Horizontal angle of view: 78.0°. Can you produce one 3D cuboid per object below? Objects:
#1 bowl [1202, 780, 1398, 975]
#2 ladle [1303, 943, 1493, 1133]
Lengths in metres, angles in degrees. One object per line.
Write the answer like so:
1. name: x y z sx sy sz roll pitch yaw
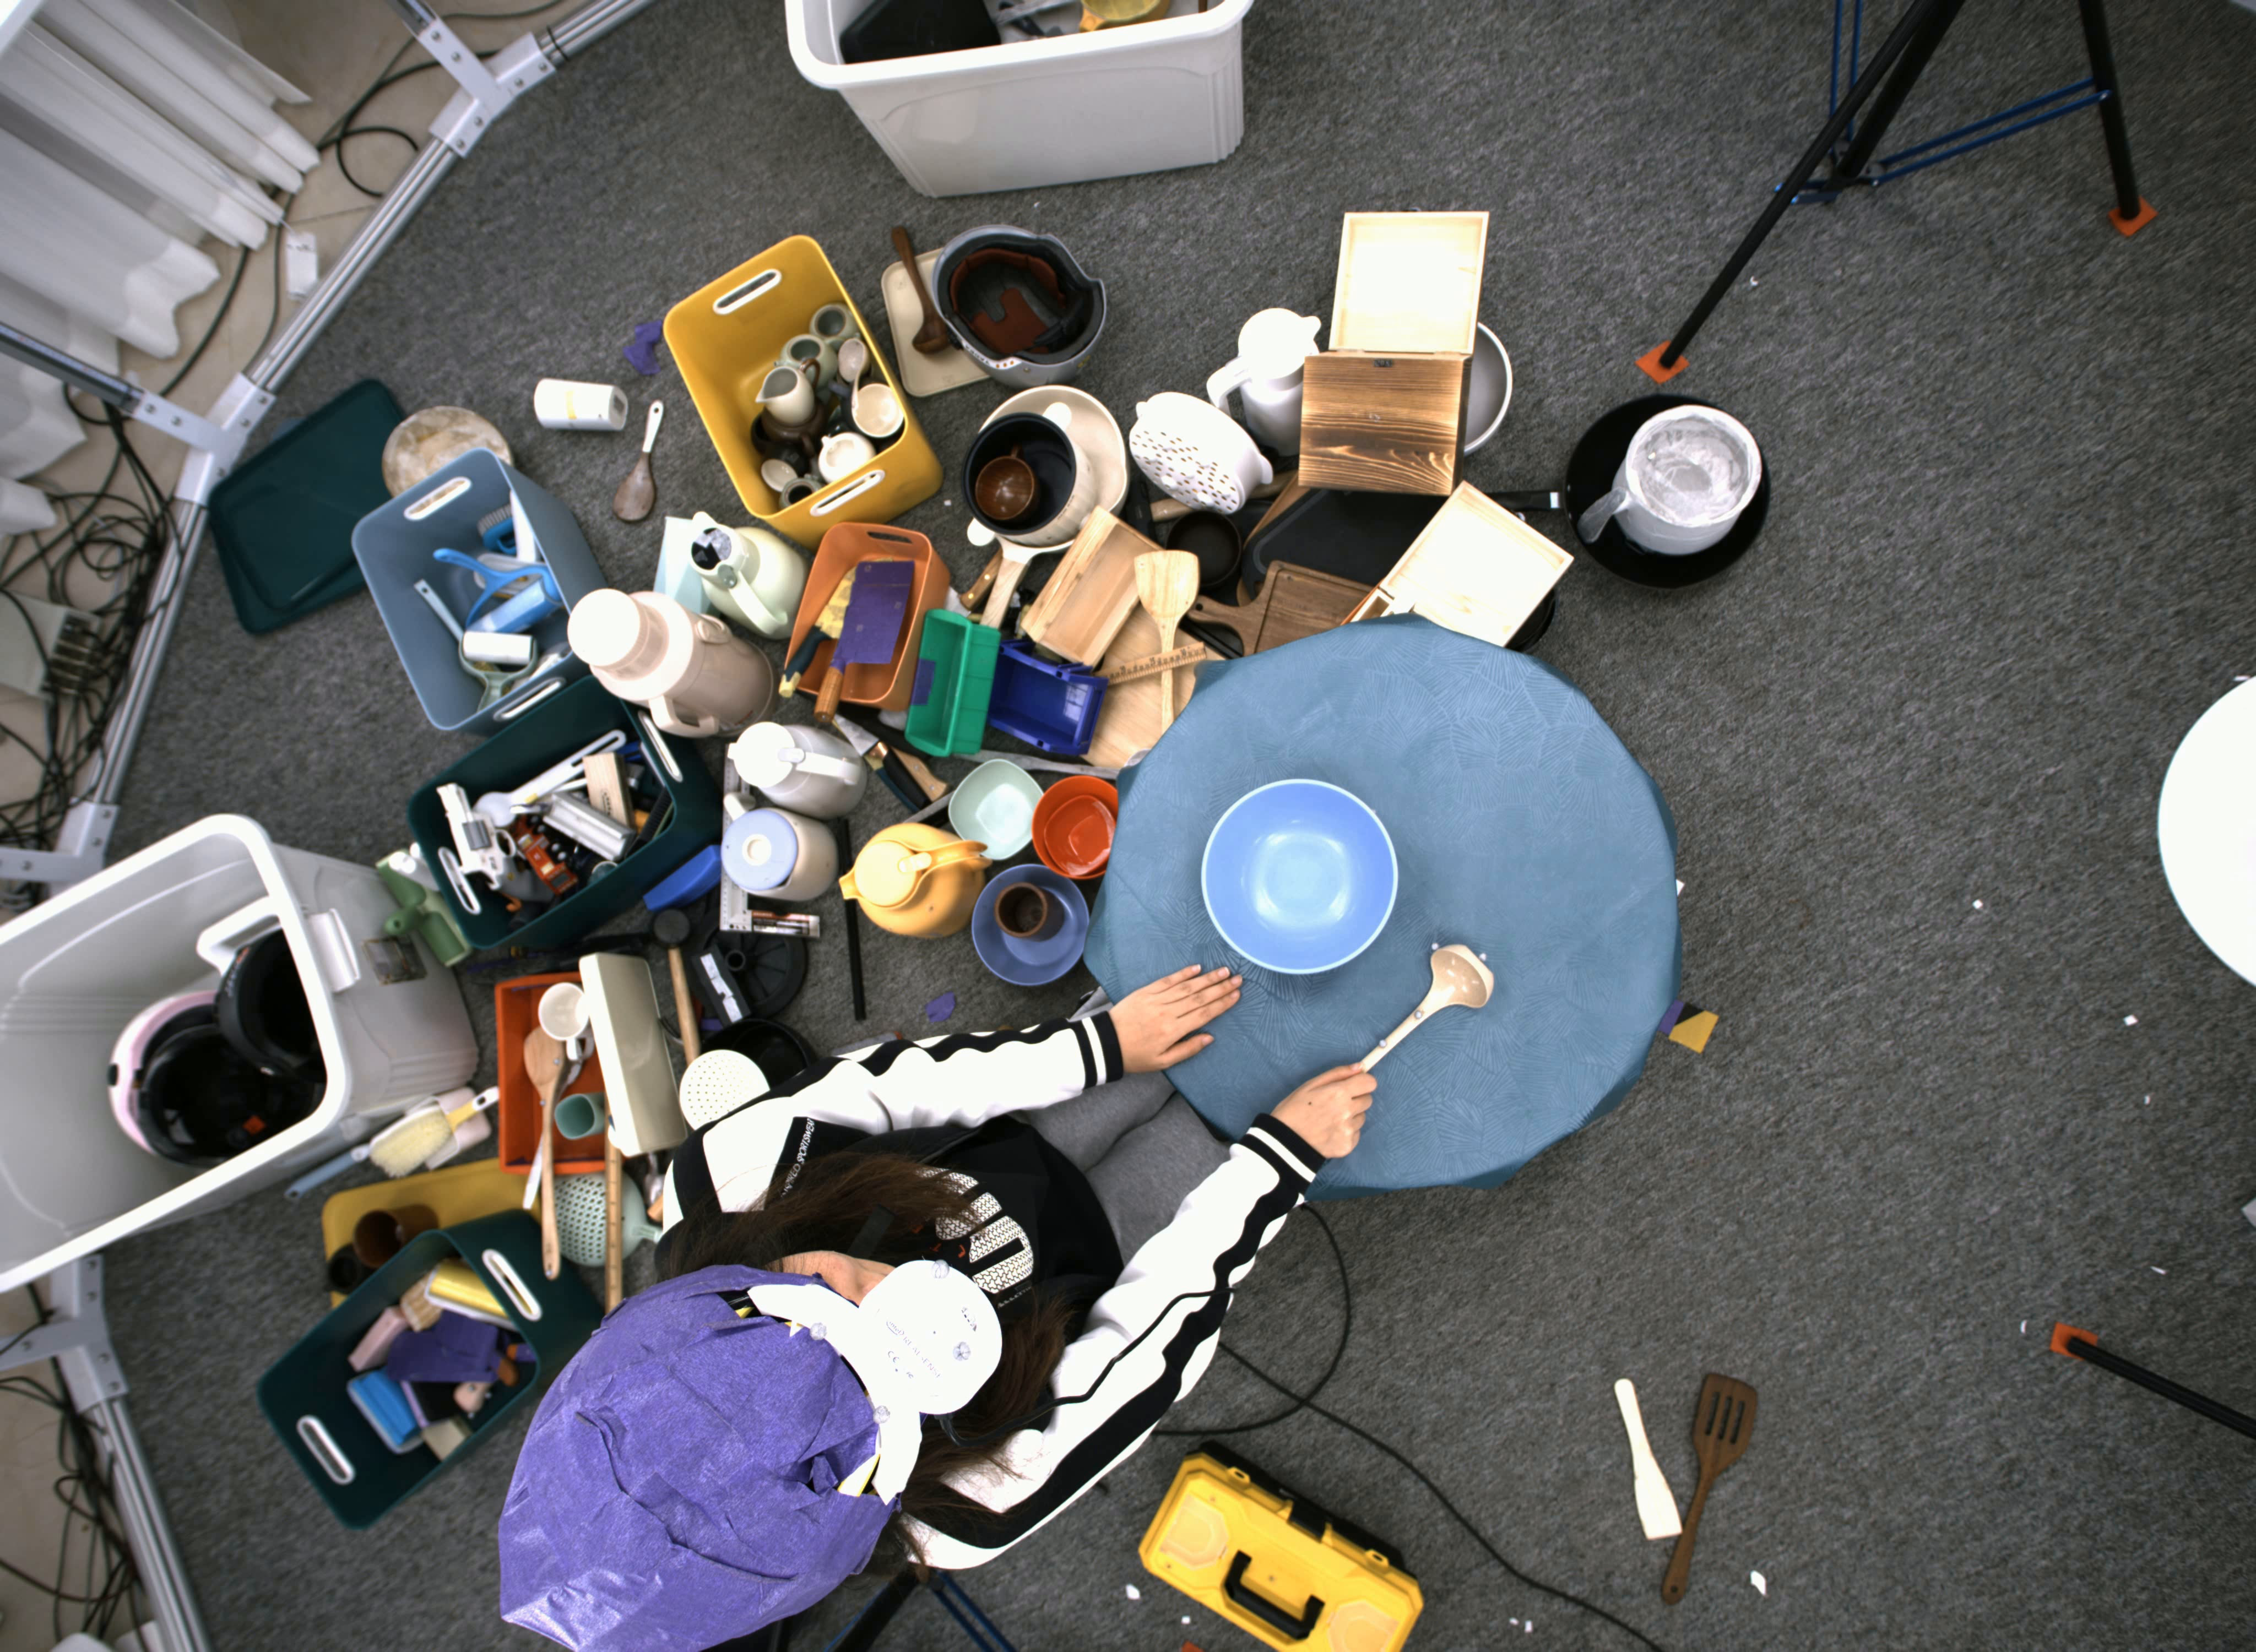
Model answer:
1. bowl: 0.179 0.054 1.434 0.197 0.095 0.196 -1 88 10
2. ladle: 0.268 0.221 1.411 0.255 0.073 0.071 -45 76 3
